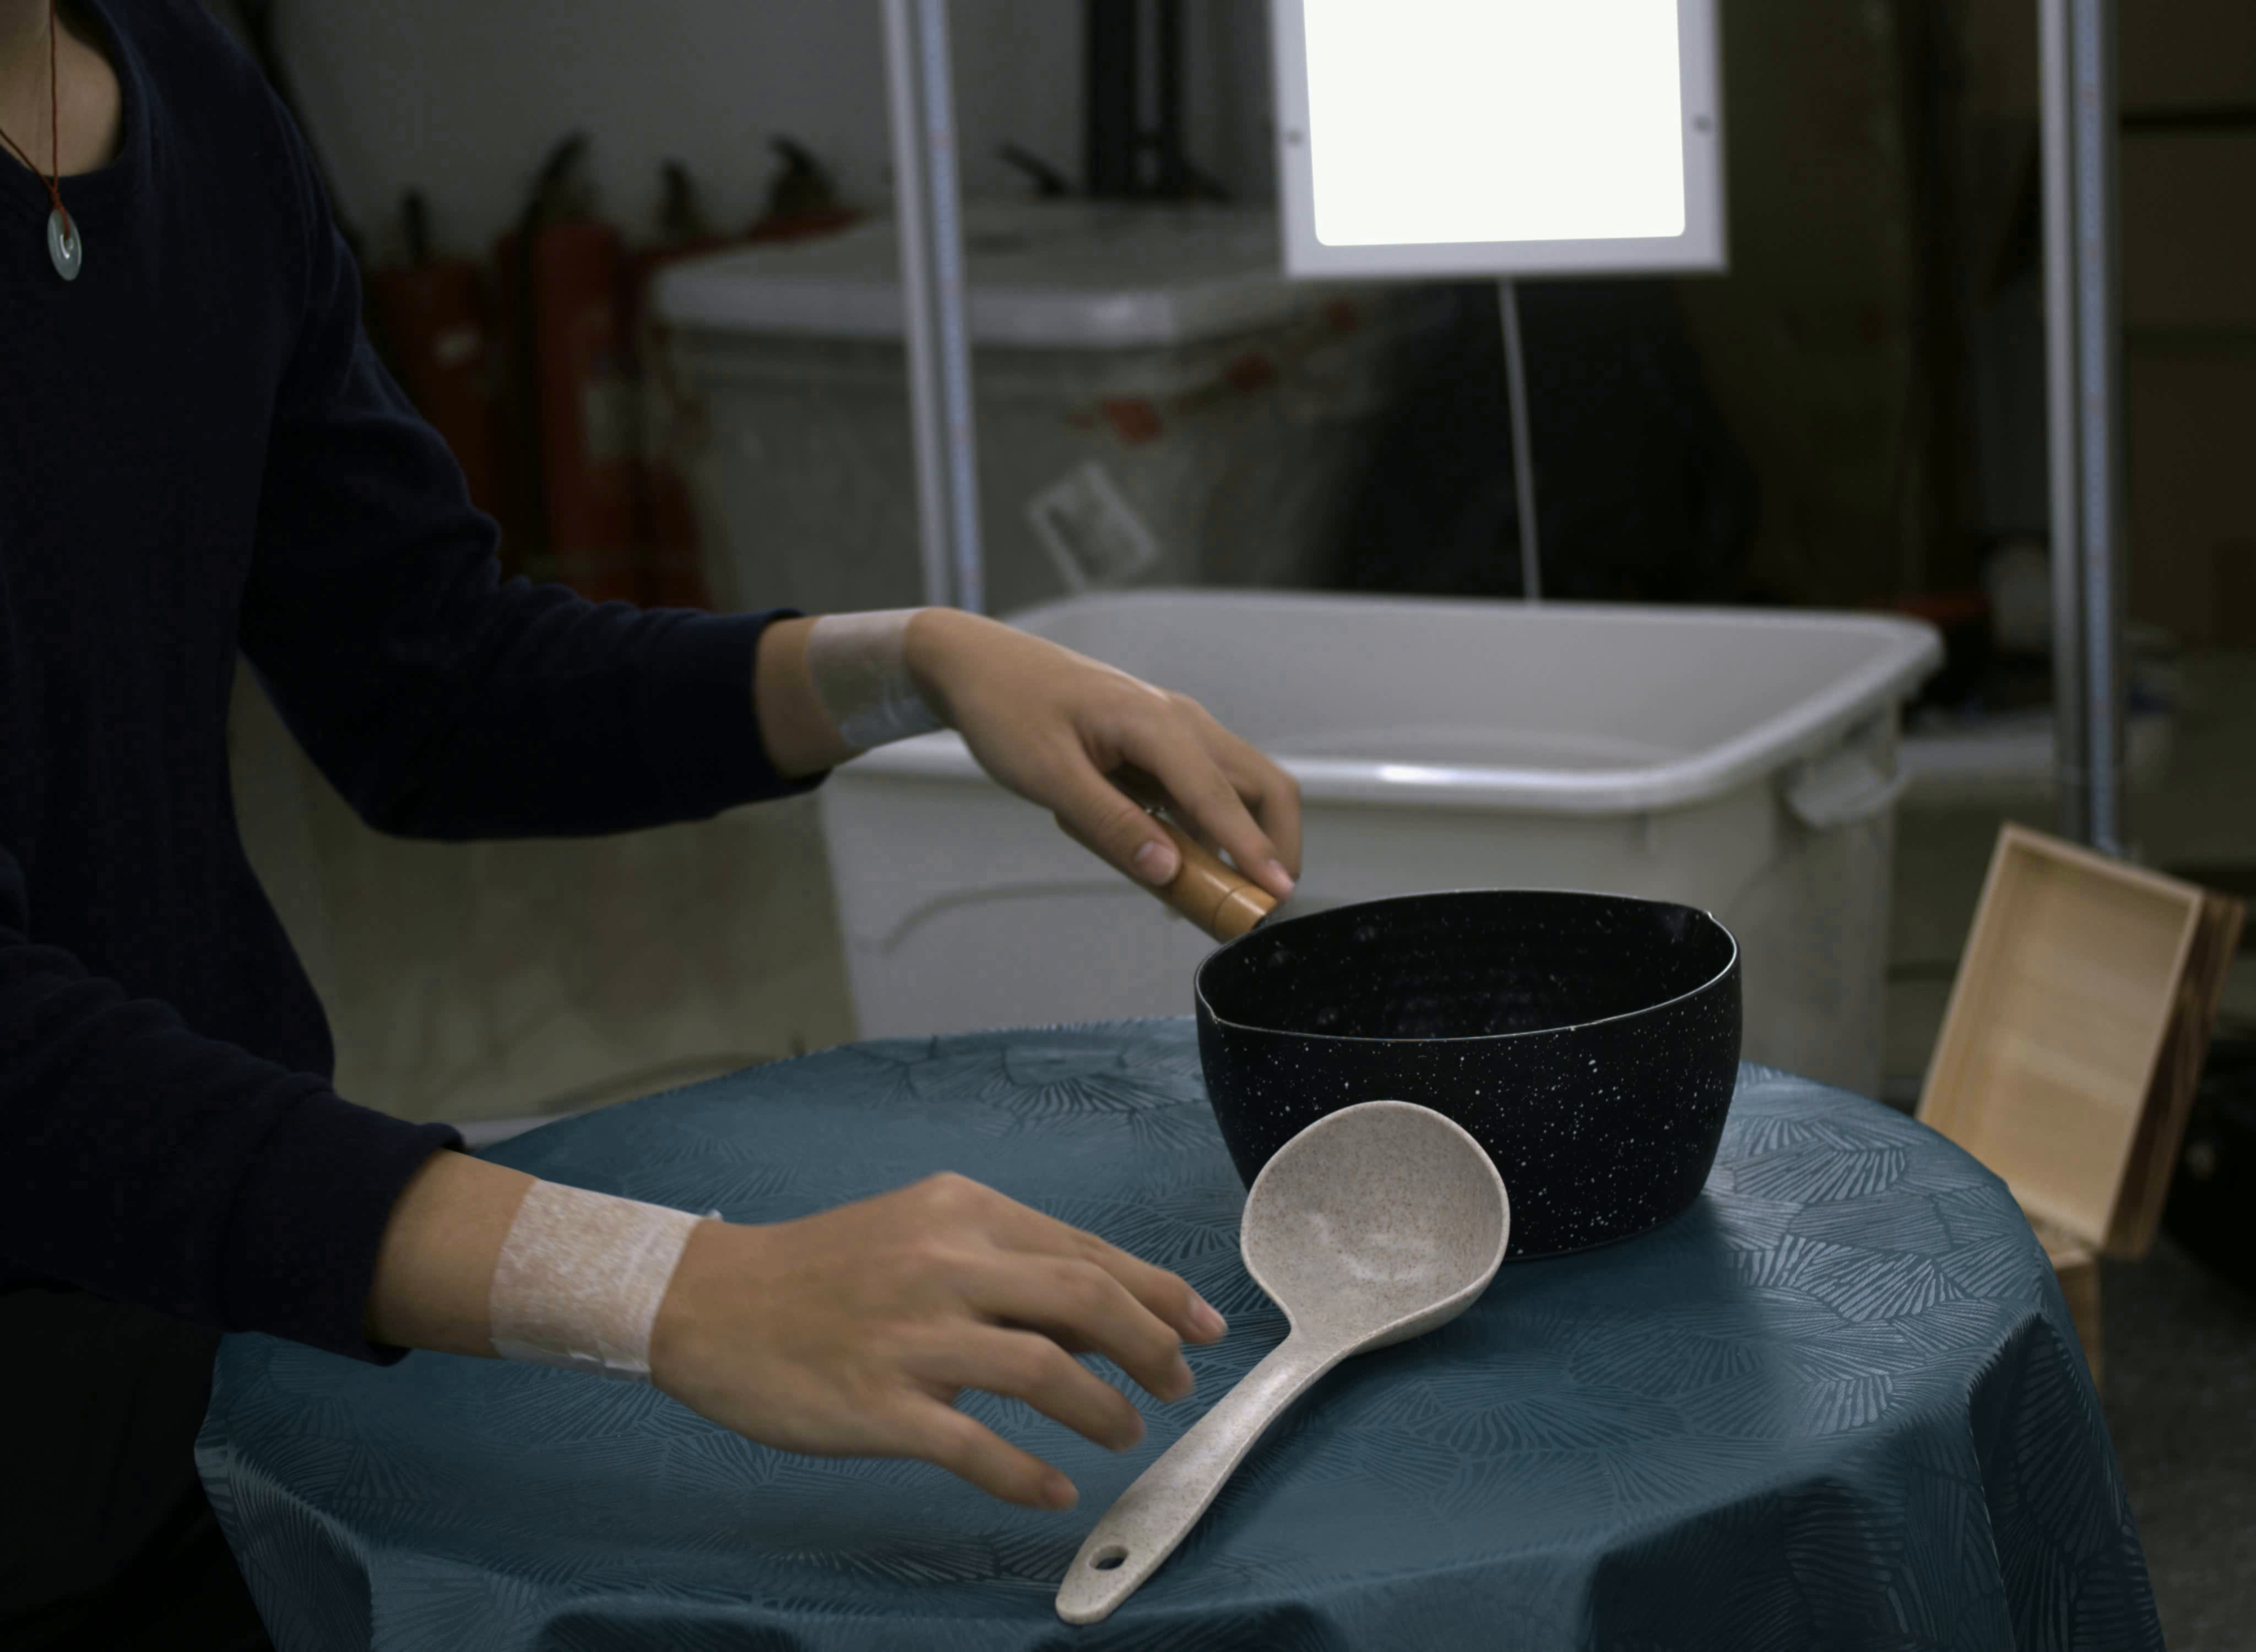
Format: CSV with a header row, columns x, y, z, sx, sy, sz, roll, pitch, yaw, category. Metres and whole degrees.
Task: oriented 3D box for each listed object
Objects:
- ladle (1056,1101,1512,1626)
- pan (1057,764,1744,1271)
x,y,z,sx,sy,sz,roll,pitch,yaw,category
0.038,0.153,1.632,0.090,0.070,0.269,8,18,21,ladle
0.072,0.061,1.911,0.203,0.108,0.349,-14,18,-30,pan
